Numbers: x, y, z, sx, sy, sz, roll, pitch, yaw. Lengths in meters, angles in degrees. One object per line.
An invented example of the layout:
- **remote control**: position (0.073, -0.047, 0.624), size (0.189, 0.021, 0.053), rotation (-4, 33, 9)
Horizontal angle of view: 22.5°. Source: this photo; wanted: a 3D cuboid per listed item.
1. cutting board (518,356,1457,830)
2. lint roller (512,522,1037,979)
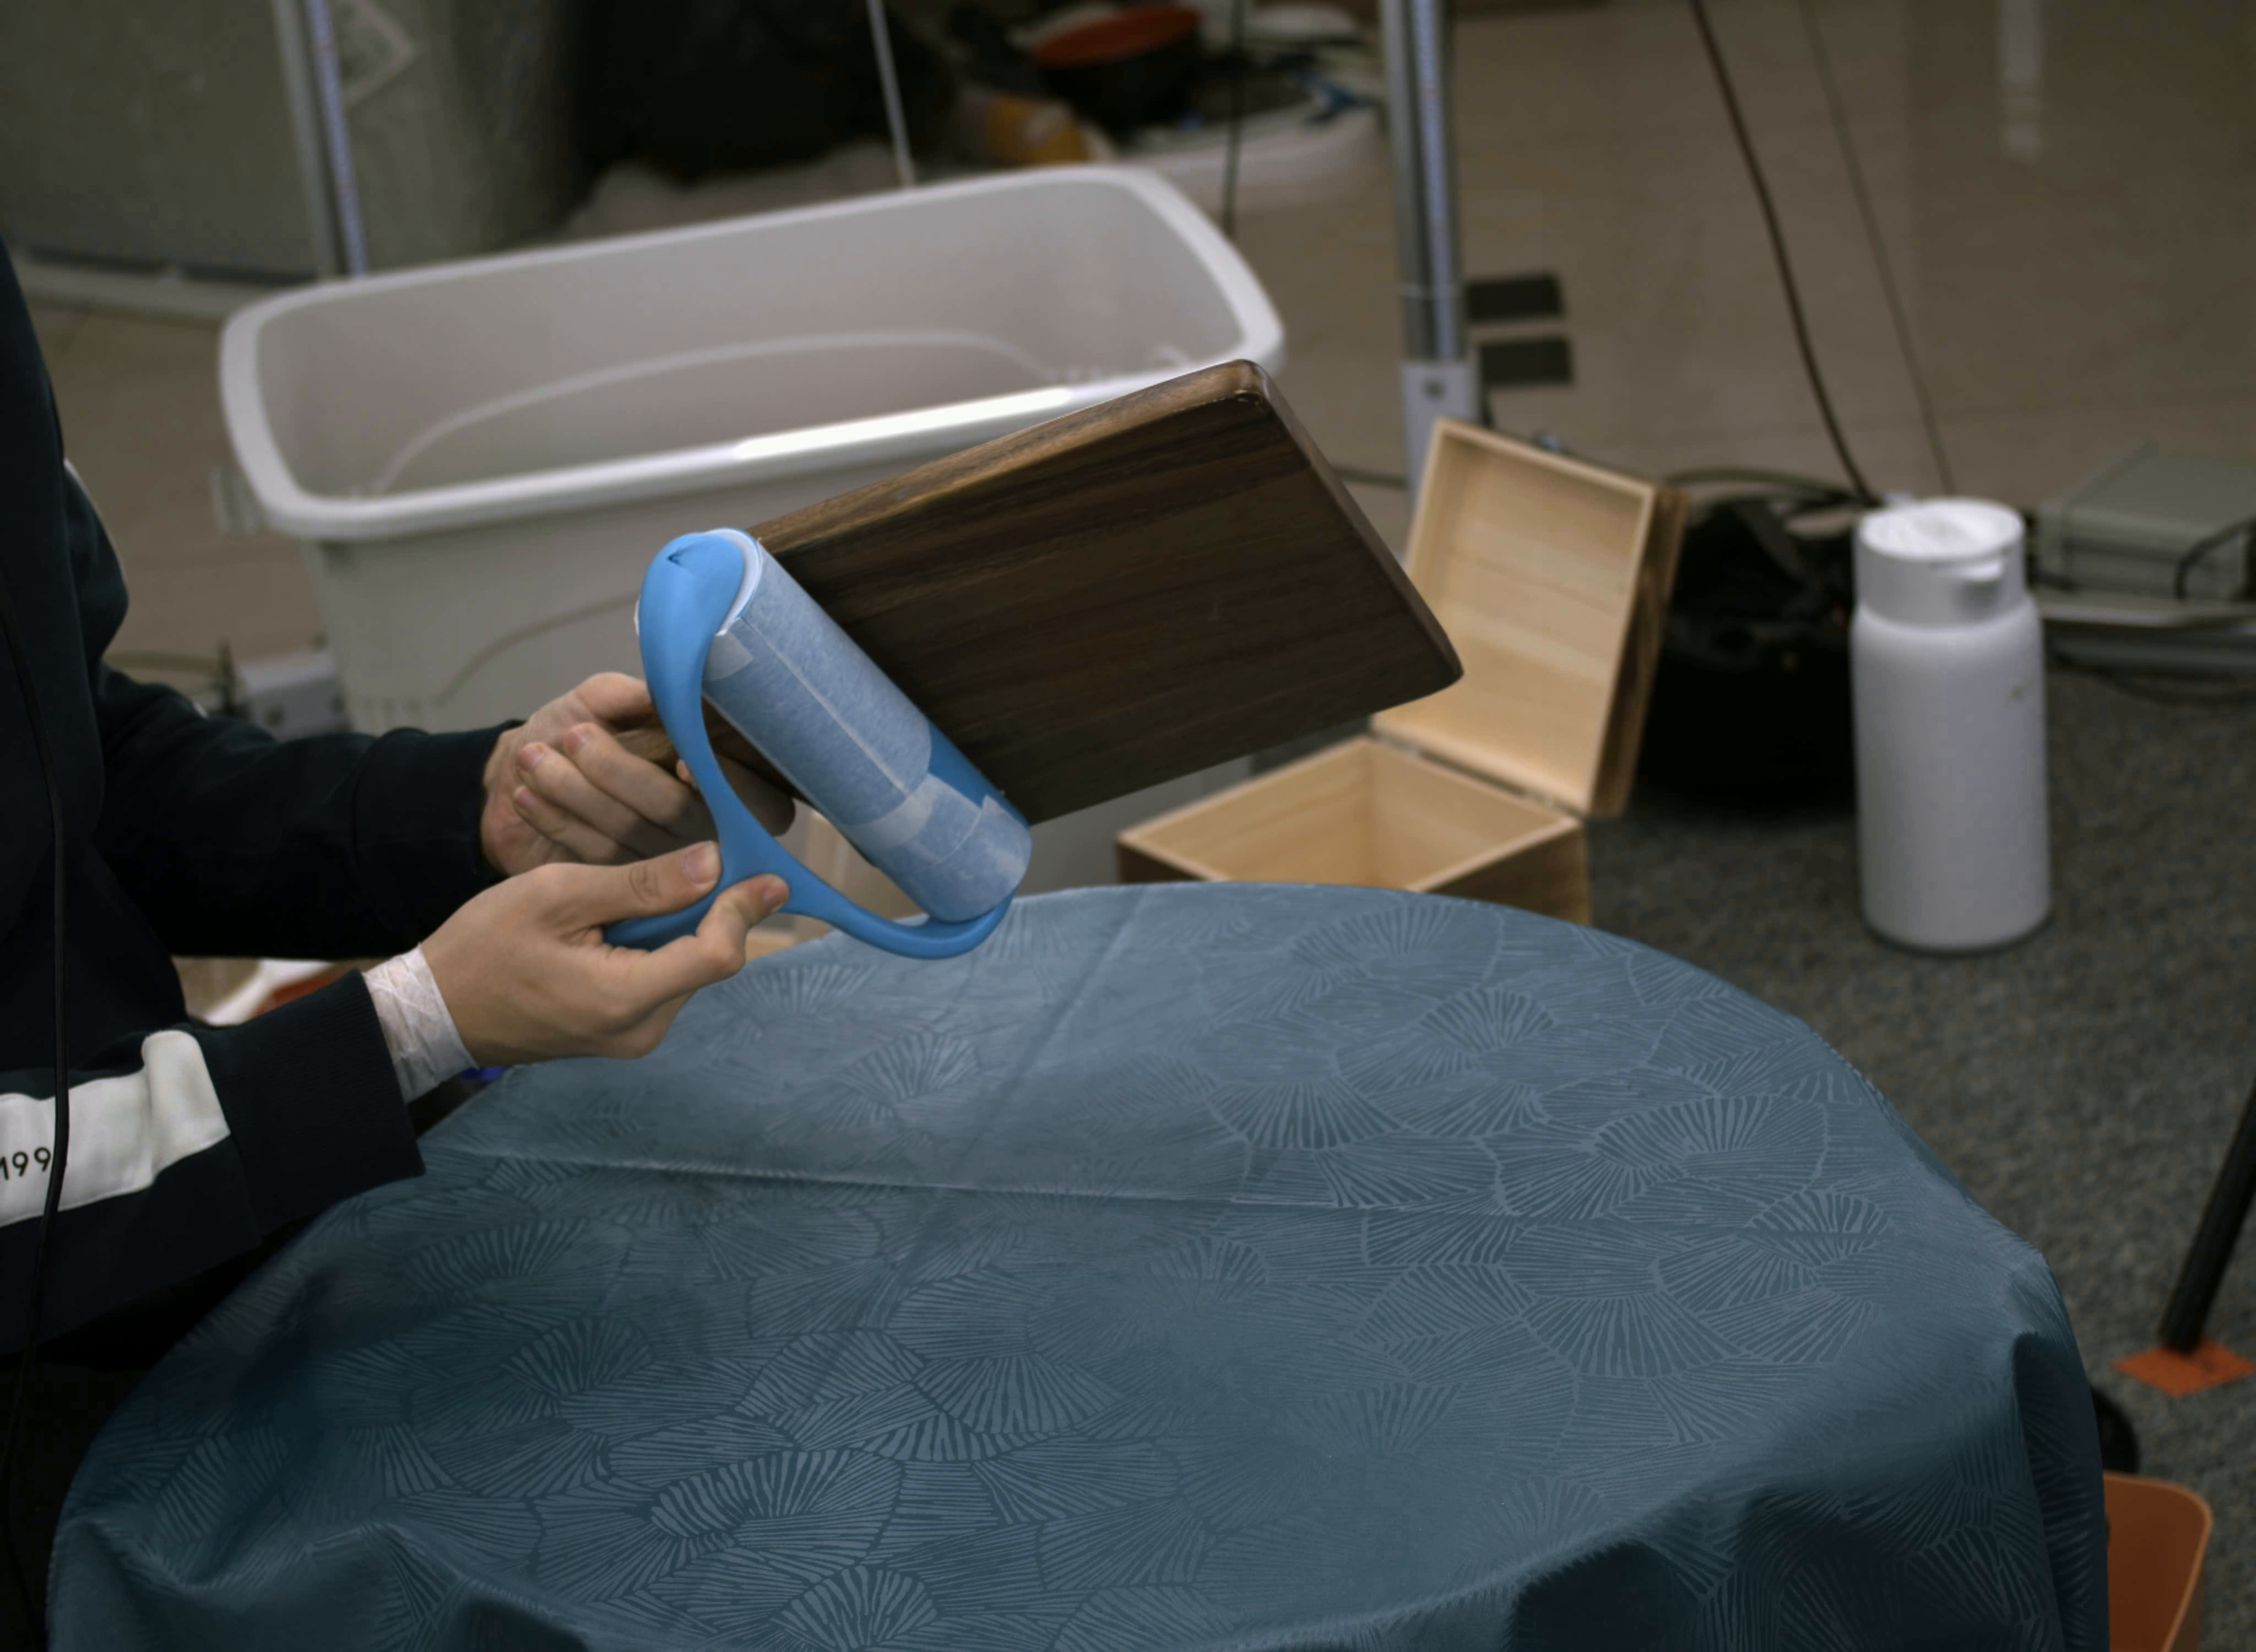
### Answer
- **cutting board**: position (-0.071, -0.061, 2.122), size (0.353, 0.204, 0.023), rotation (-18, 51, 18)
- **lint roller**: position (-0.147, 0.005, 2.092), size (0.180, 0.232, 0.067), rotation (-44, 46, 4)
